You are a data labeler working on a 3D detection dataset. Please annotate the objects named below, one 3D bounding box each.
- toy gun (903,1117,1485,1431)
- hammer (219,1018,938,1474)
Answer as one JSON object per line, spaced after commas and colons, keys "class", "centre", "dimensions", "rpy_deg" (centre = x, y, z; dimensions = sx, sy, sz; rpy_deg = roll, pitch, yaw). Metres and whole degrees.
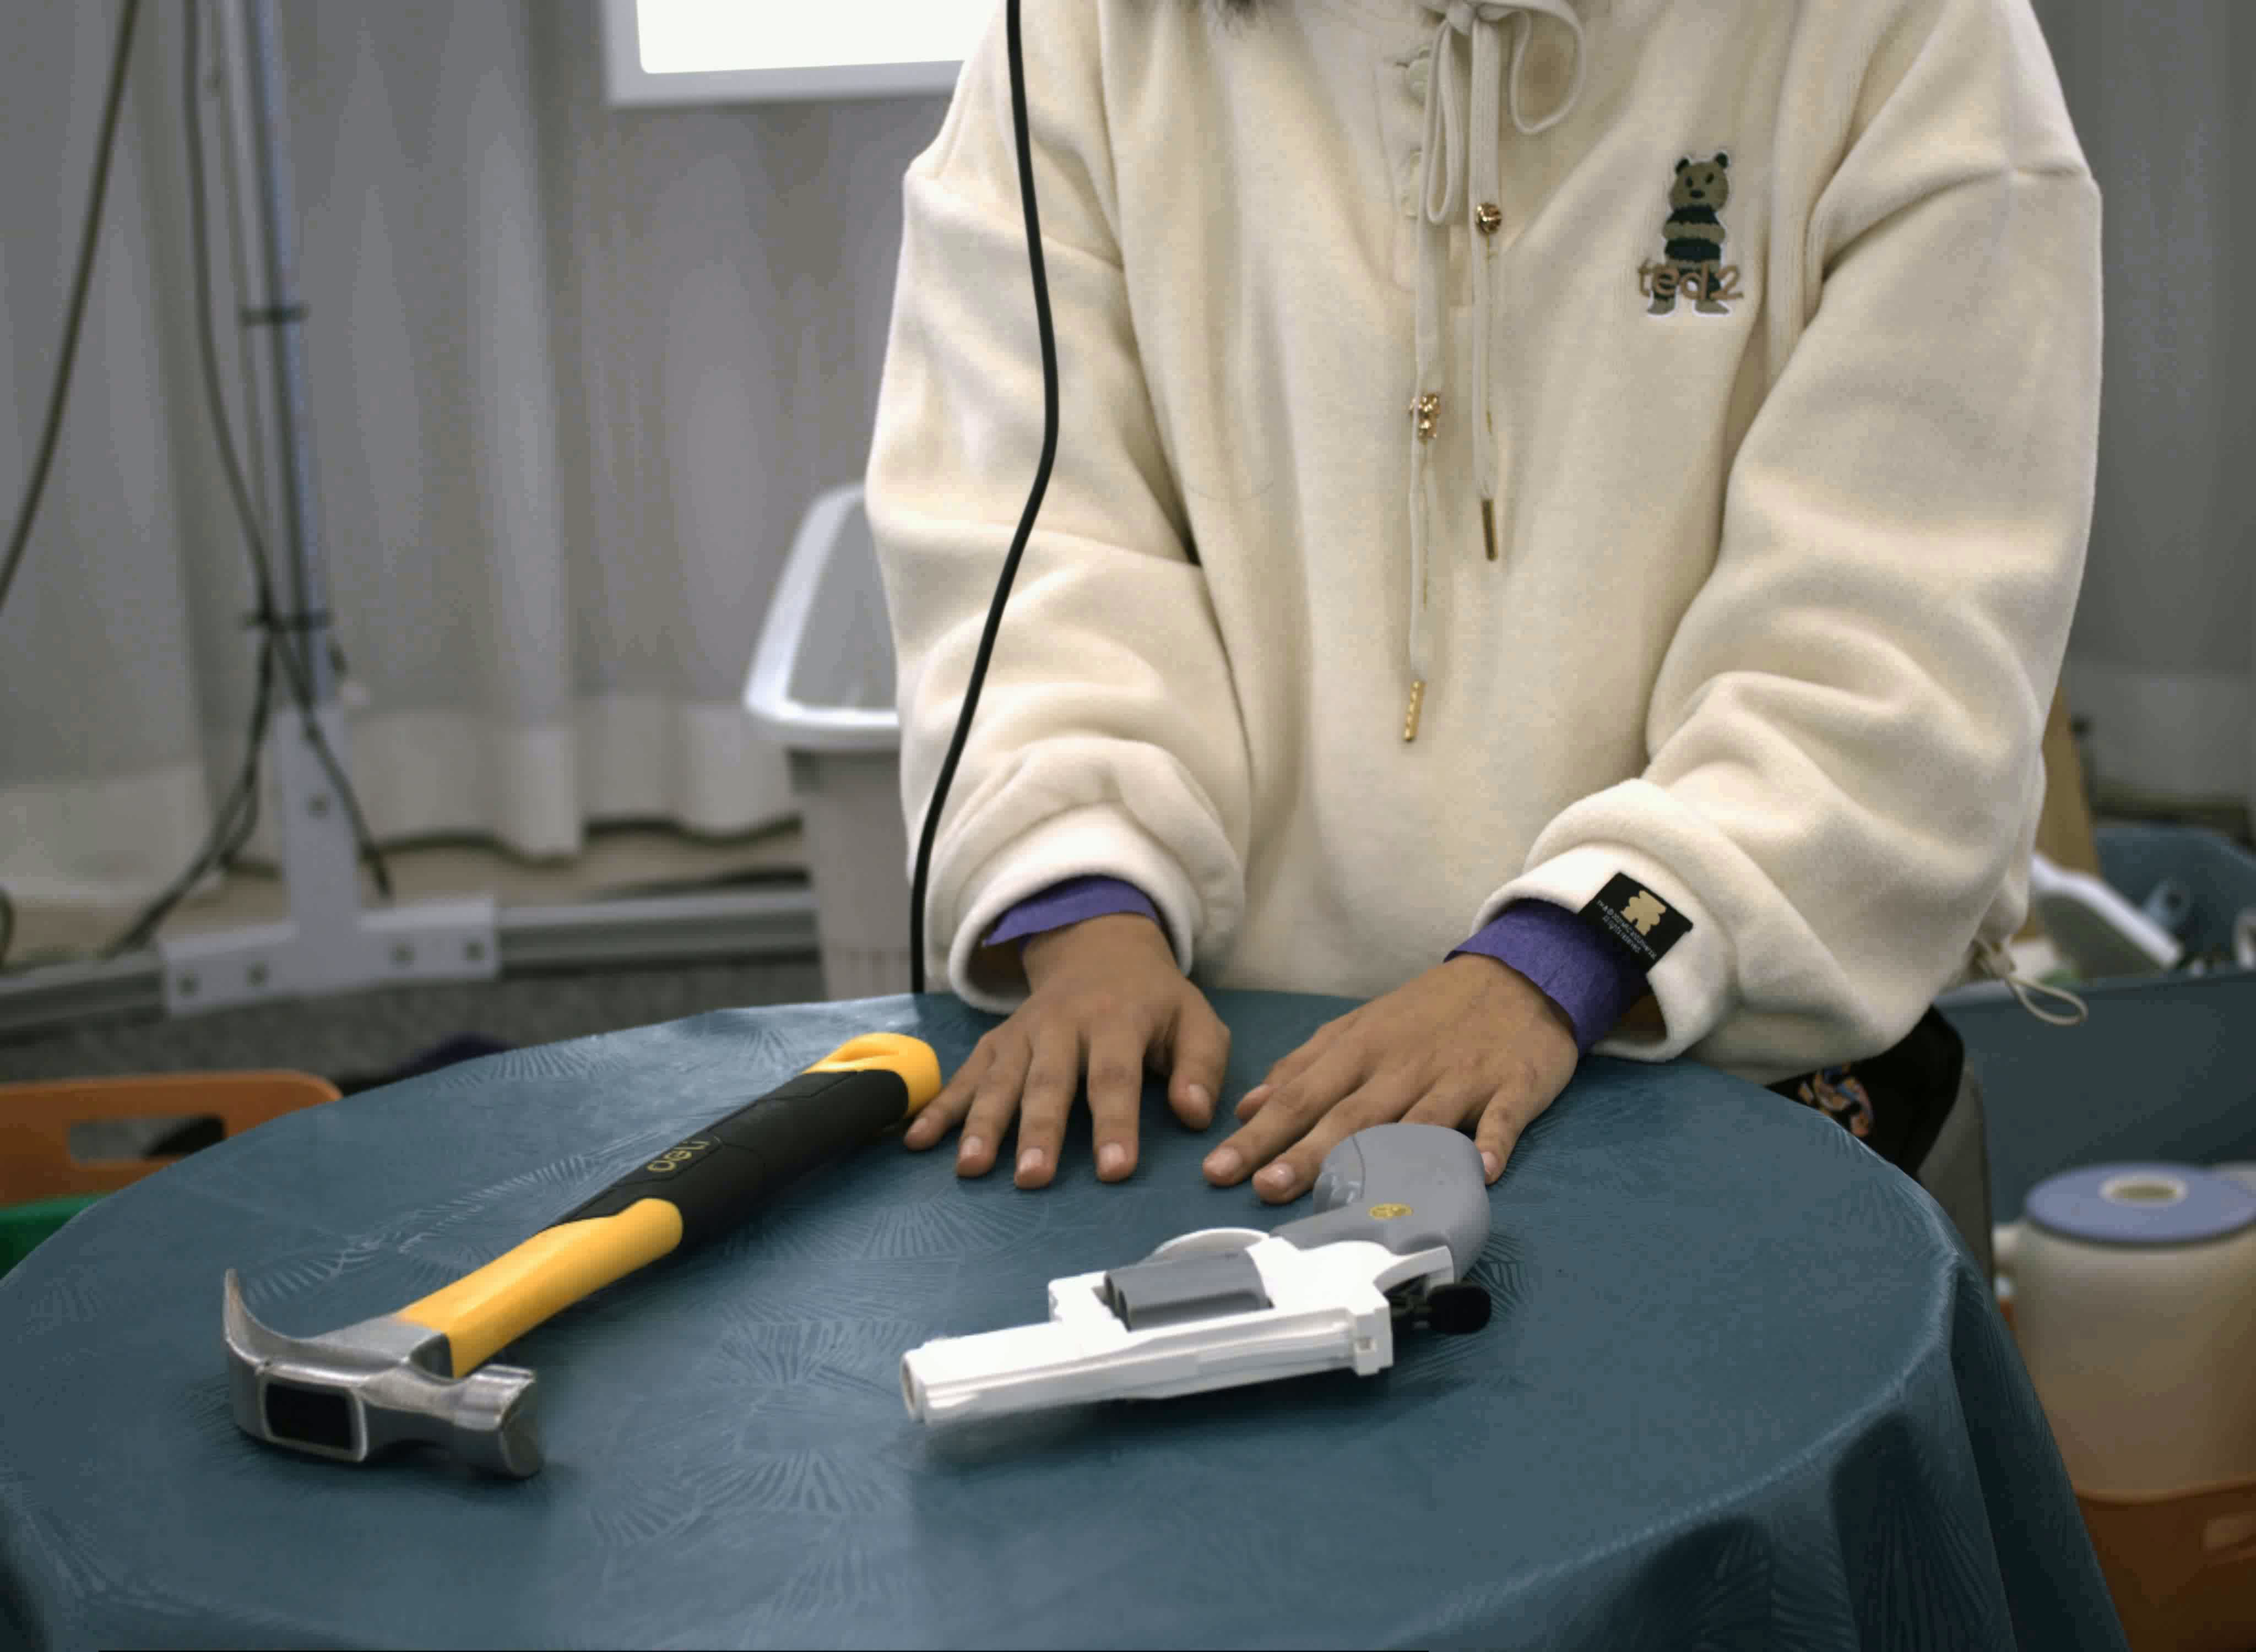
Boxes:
{"class": "toy gun", "centre": [0.024, 0.130, 1.574], "dimensions": [0.208, 0.038, 0.143], "rpy_deg": [-8, 17, -17]}
{"class": "hammer", "centre": [-0.152, 0.119, 1.659], "dimensions": [0.131, 0.032, 0.339], "rpy_deg": [2, 17, 27]}
